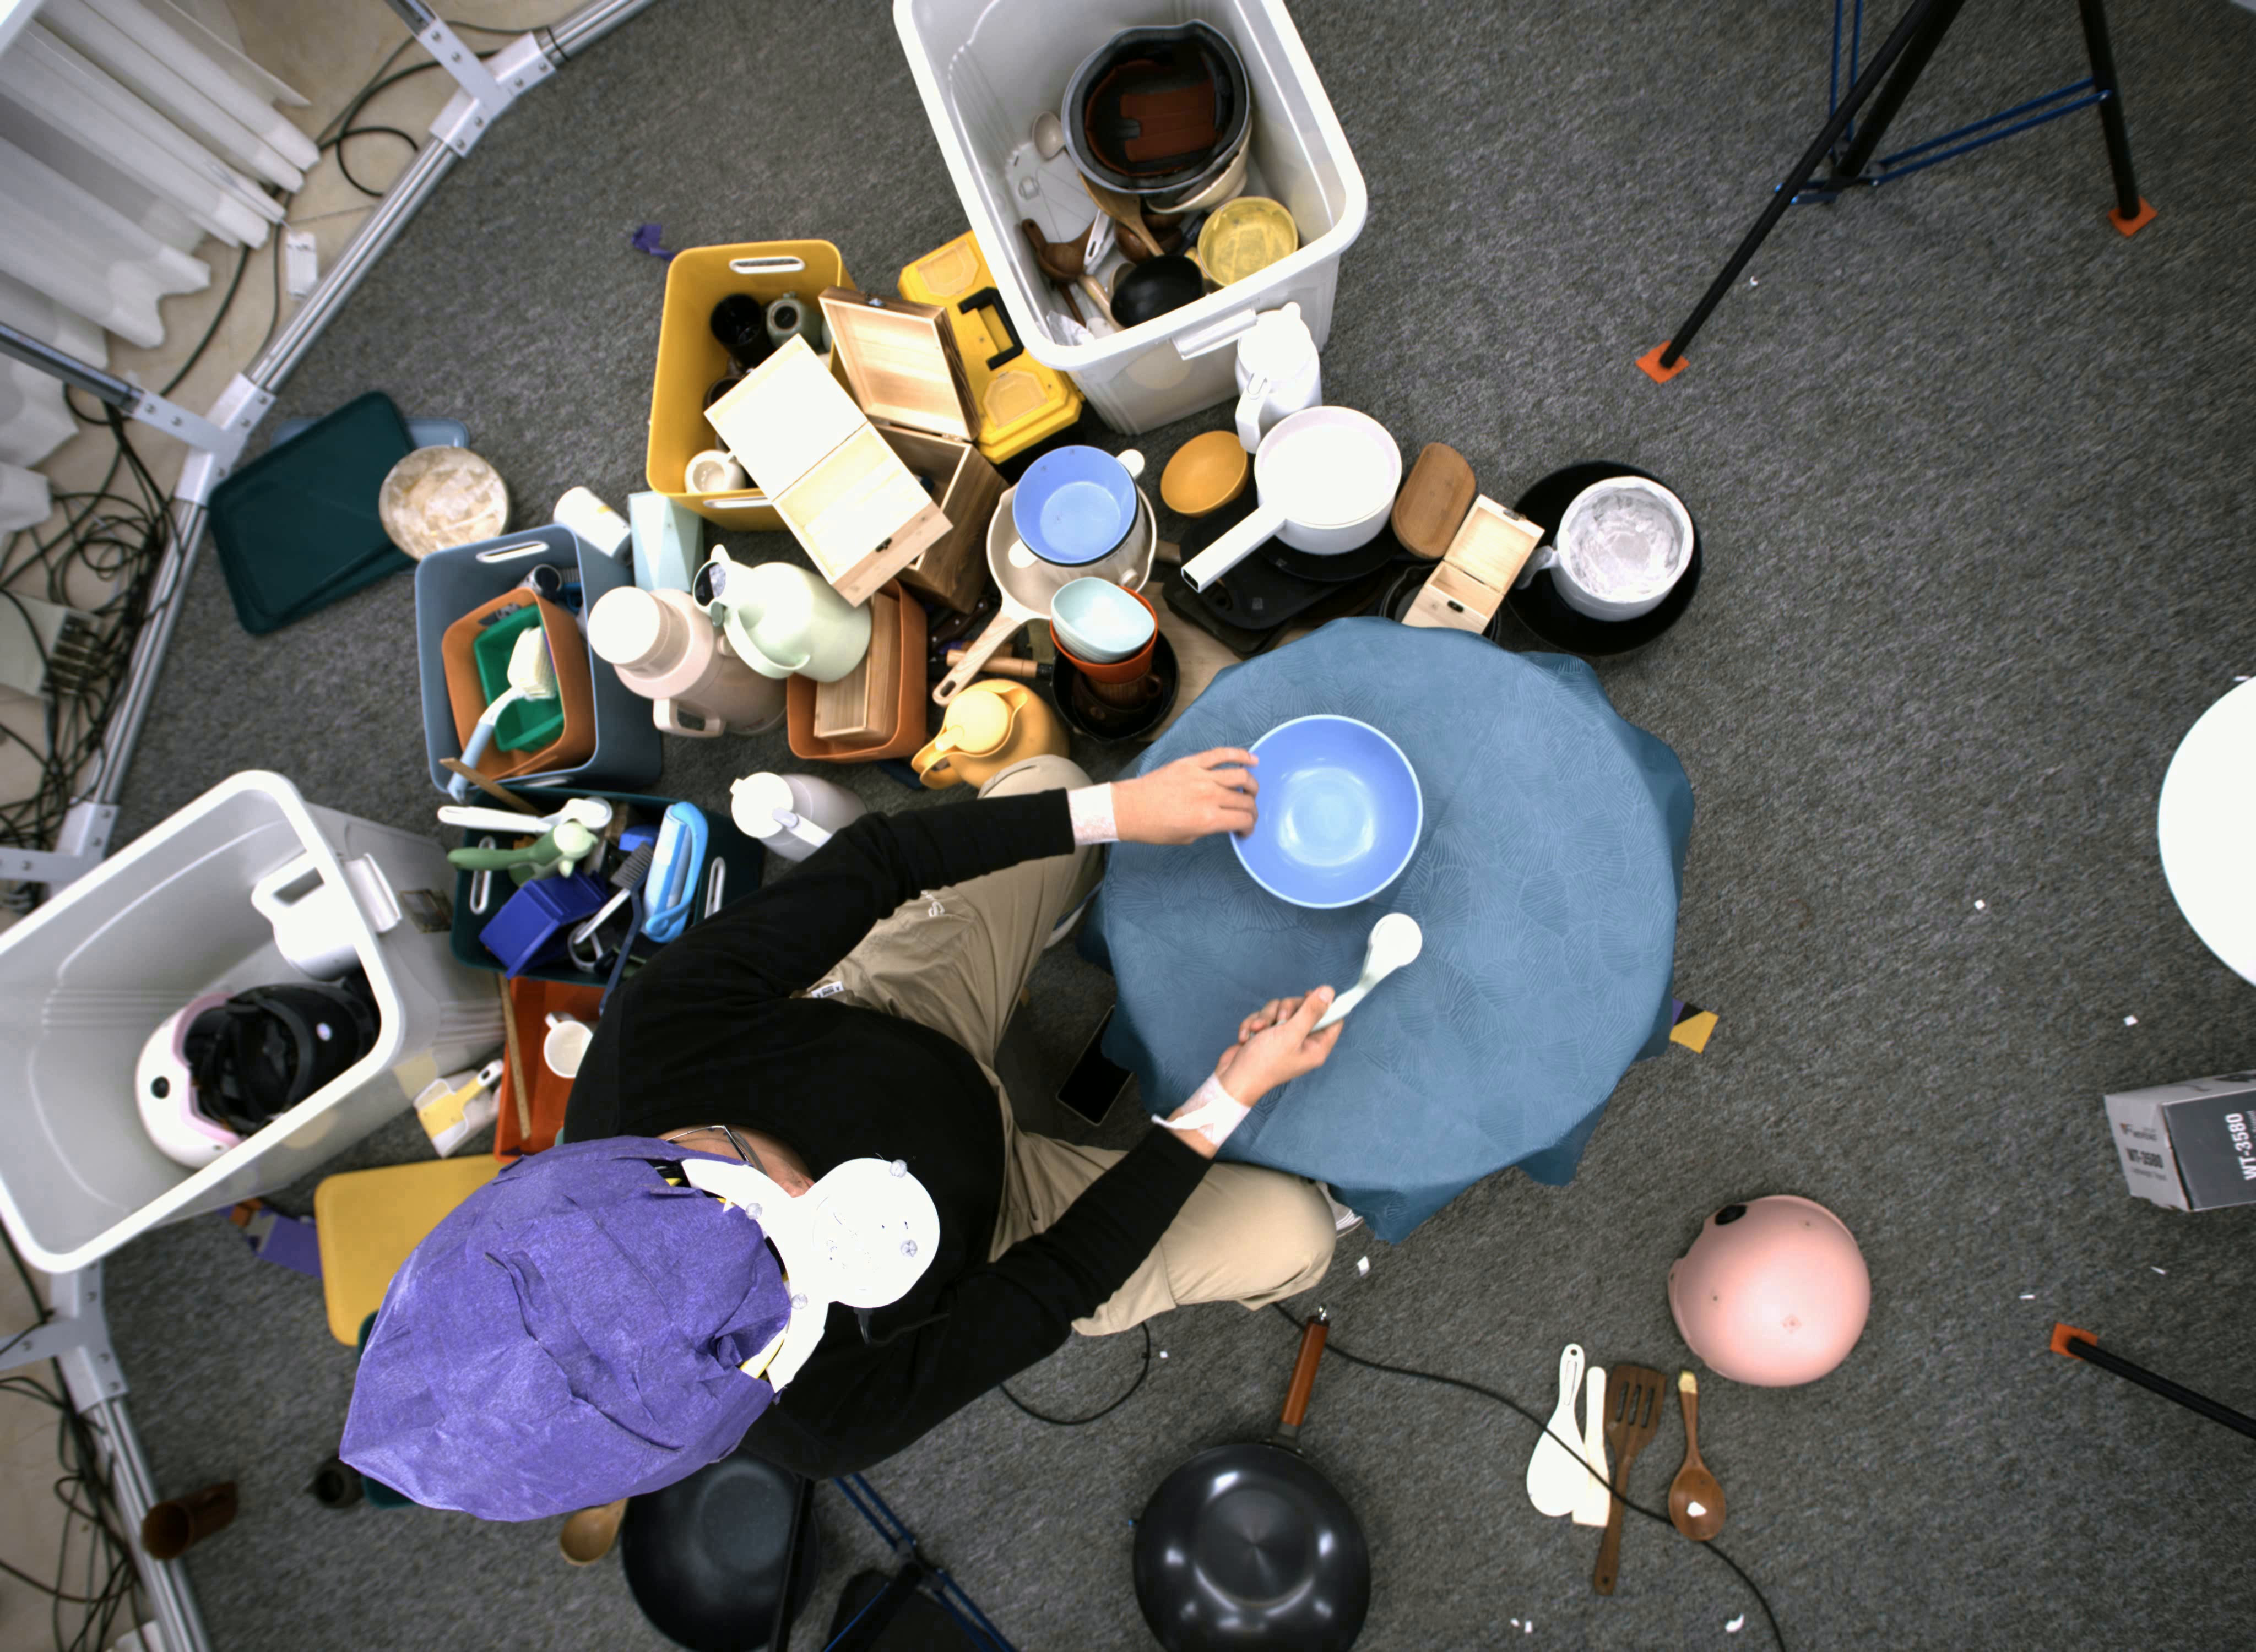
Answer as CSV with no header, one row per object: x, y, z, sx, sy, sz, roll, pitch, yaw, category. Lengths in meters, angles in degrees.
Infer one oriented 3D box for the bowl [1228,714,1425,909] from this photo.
0.204,-0.012,1.427,0.197,0.095,0.196,-1,87,9,bowl

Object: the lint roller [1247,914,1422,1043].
0.204,0.157,1.355,0.198,0.117,0.048,-40,82,2,lint roller
